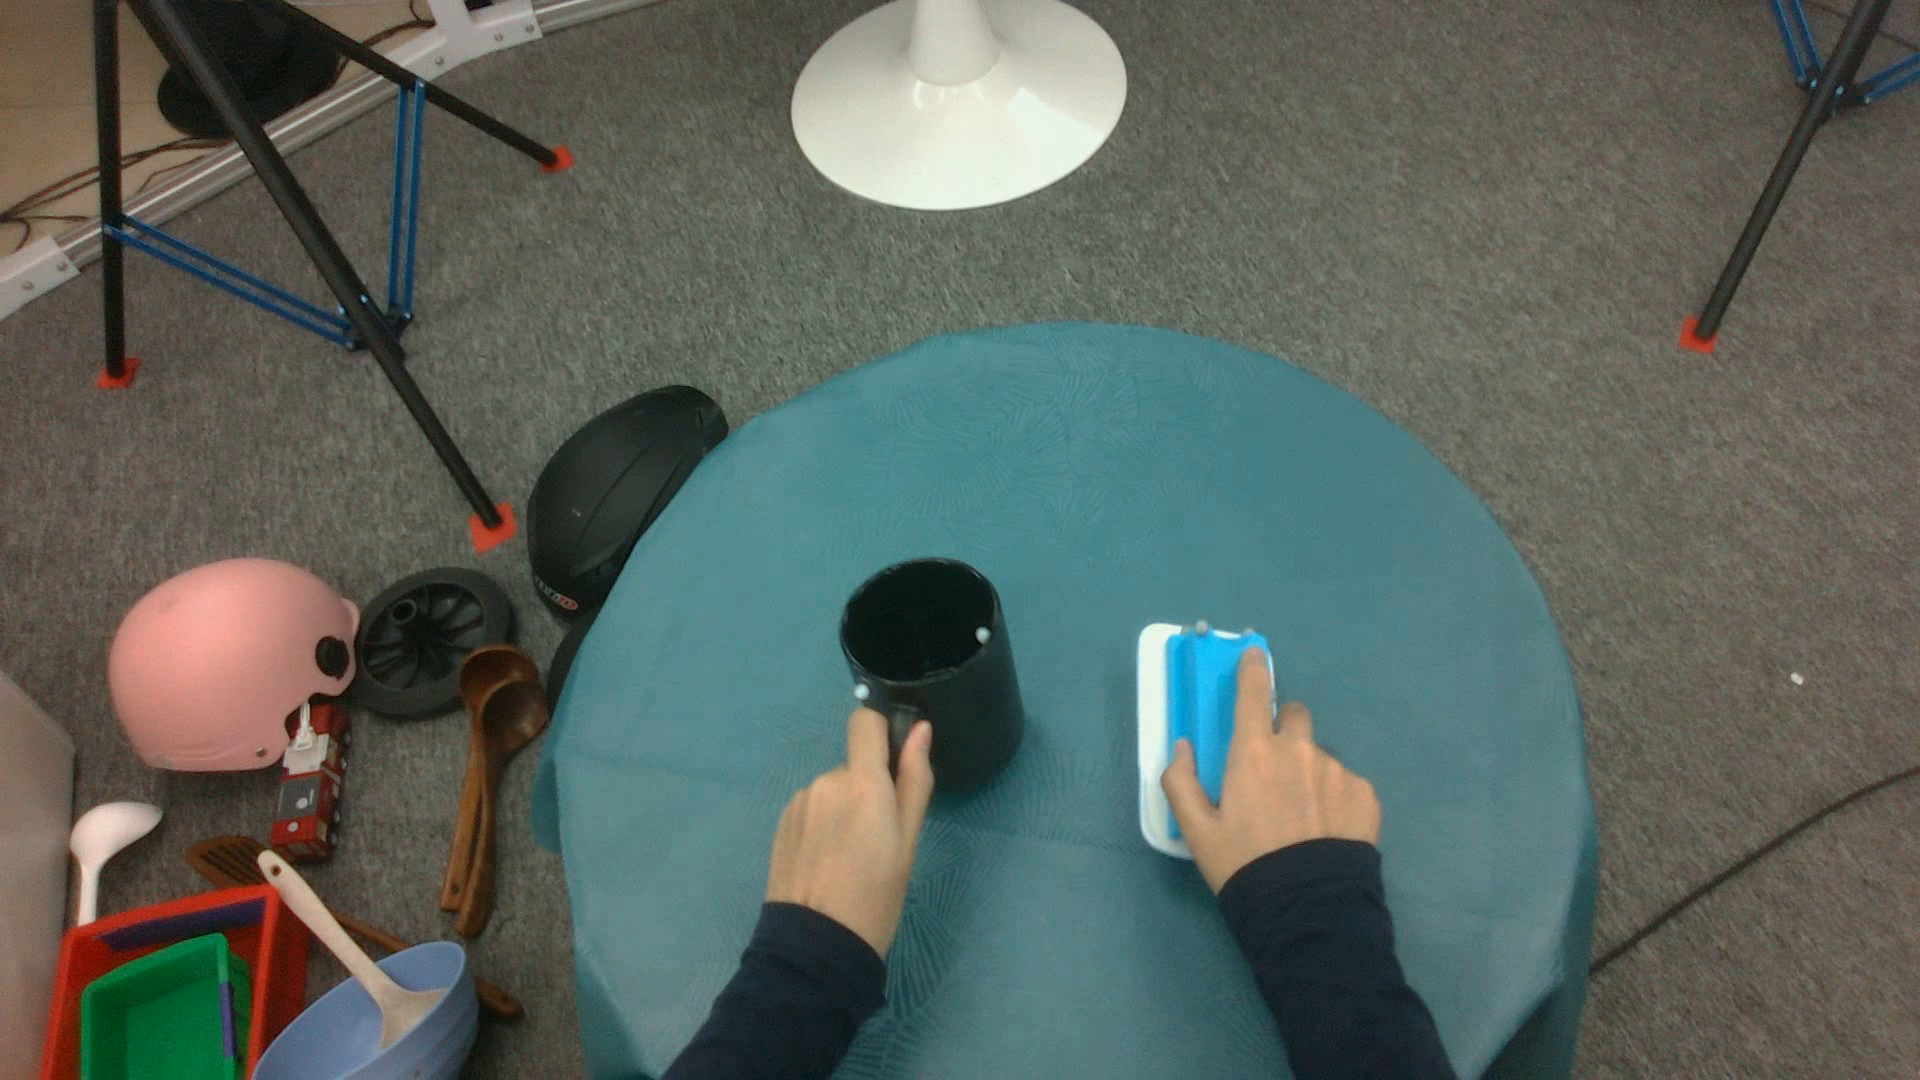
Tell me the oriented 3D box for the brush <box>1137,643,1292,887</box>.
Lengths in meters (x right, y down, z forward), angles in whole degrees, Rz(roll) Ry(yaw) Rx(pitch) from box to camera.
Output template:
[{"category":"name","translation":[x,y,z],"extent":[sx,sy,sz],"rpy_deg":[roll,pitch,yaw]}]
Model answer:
[{"category":"brush","translation":[0.143,0.115,0.757],"extent":[0.084,0.055,0.144],"rpy_deg":[9,51,-1]}]

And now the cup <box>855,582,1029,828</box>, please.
[{"category":"cup","translation":[-0.013,0.102,0.769],"extent":[0.088,0.105,0.124],"rpy_deg":[8,51,15]}]
